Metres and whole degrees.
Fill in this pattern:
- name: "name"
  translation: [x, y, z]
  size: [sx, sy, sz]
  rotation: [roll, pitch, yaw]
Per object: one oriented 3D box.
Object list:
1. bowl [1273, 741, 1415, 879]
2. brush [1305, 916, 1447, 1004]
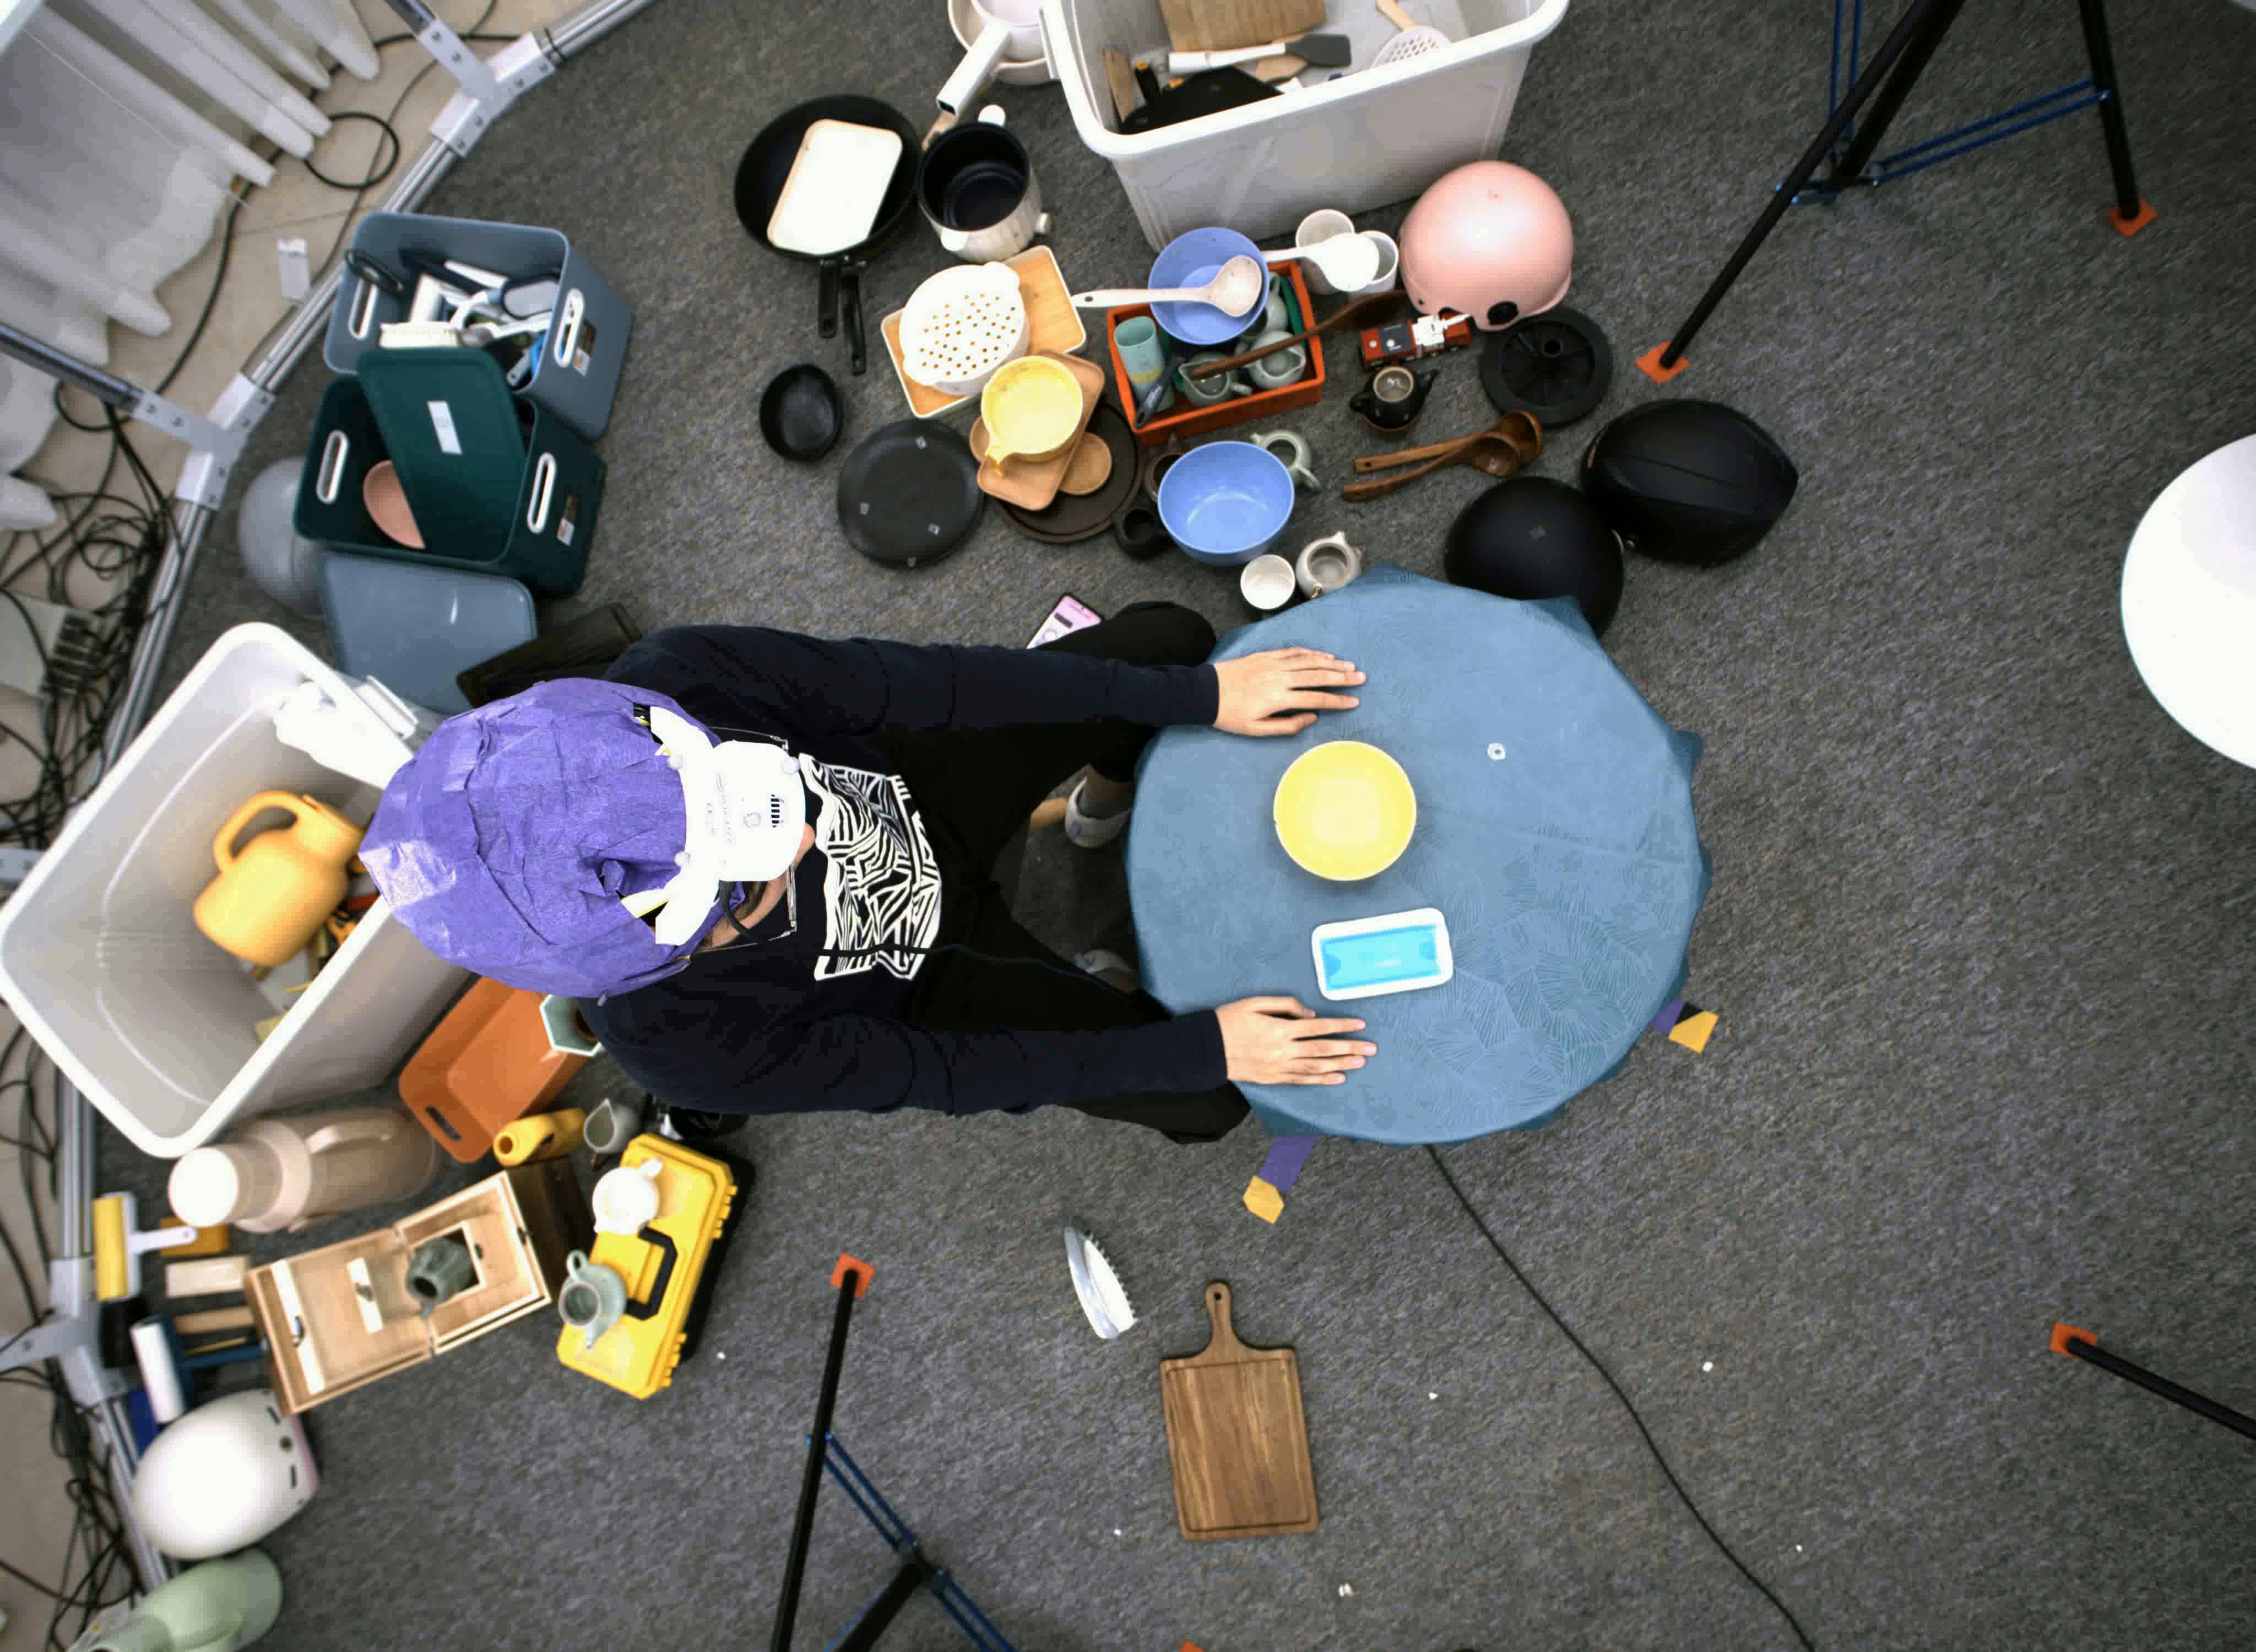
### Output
- name: "bowl"
  translation: [0.225, -0.014, 1.443]
  size: [0.146, 0.060, 0.144]
  rotation: [-1, 85, 9]
- name: "brush"
  translation: [0.255, 0.134, 1.427]
  size: [0.144, 0.056, 0.083]
  rotation: [-8, 81, 8]
